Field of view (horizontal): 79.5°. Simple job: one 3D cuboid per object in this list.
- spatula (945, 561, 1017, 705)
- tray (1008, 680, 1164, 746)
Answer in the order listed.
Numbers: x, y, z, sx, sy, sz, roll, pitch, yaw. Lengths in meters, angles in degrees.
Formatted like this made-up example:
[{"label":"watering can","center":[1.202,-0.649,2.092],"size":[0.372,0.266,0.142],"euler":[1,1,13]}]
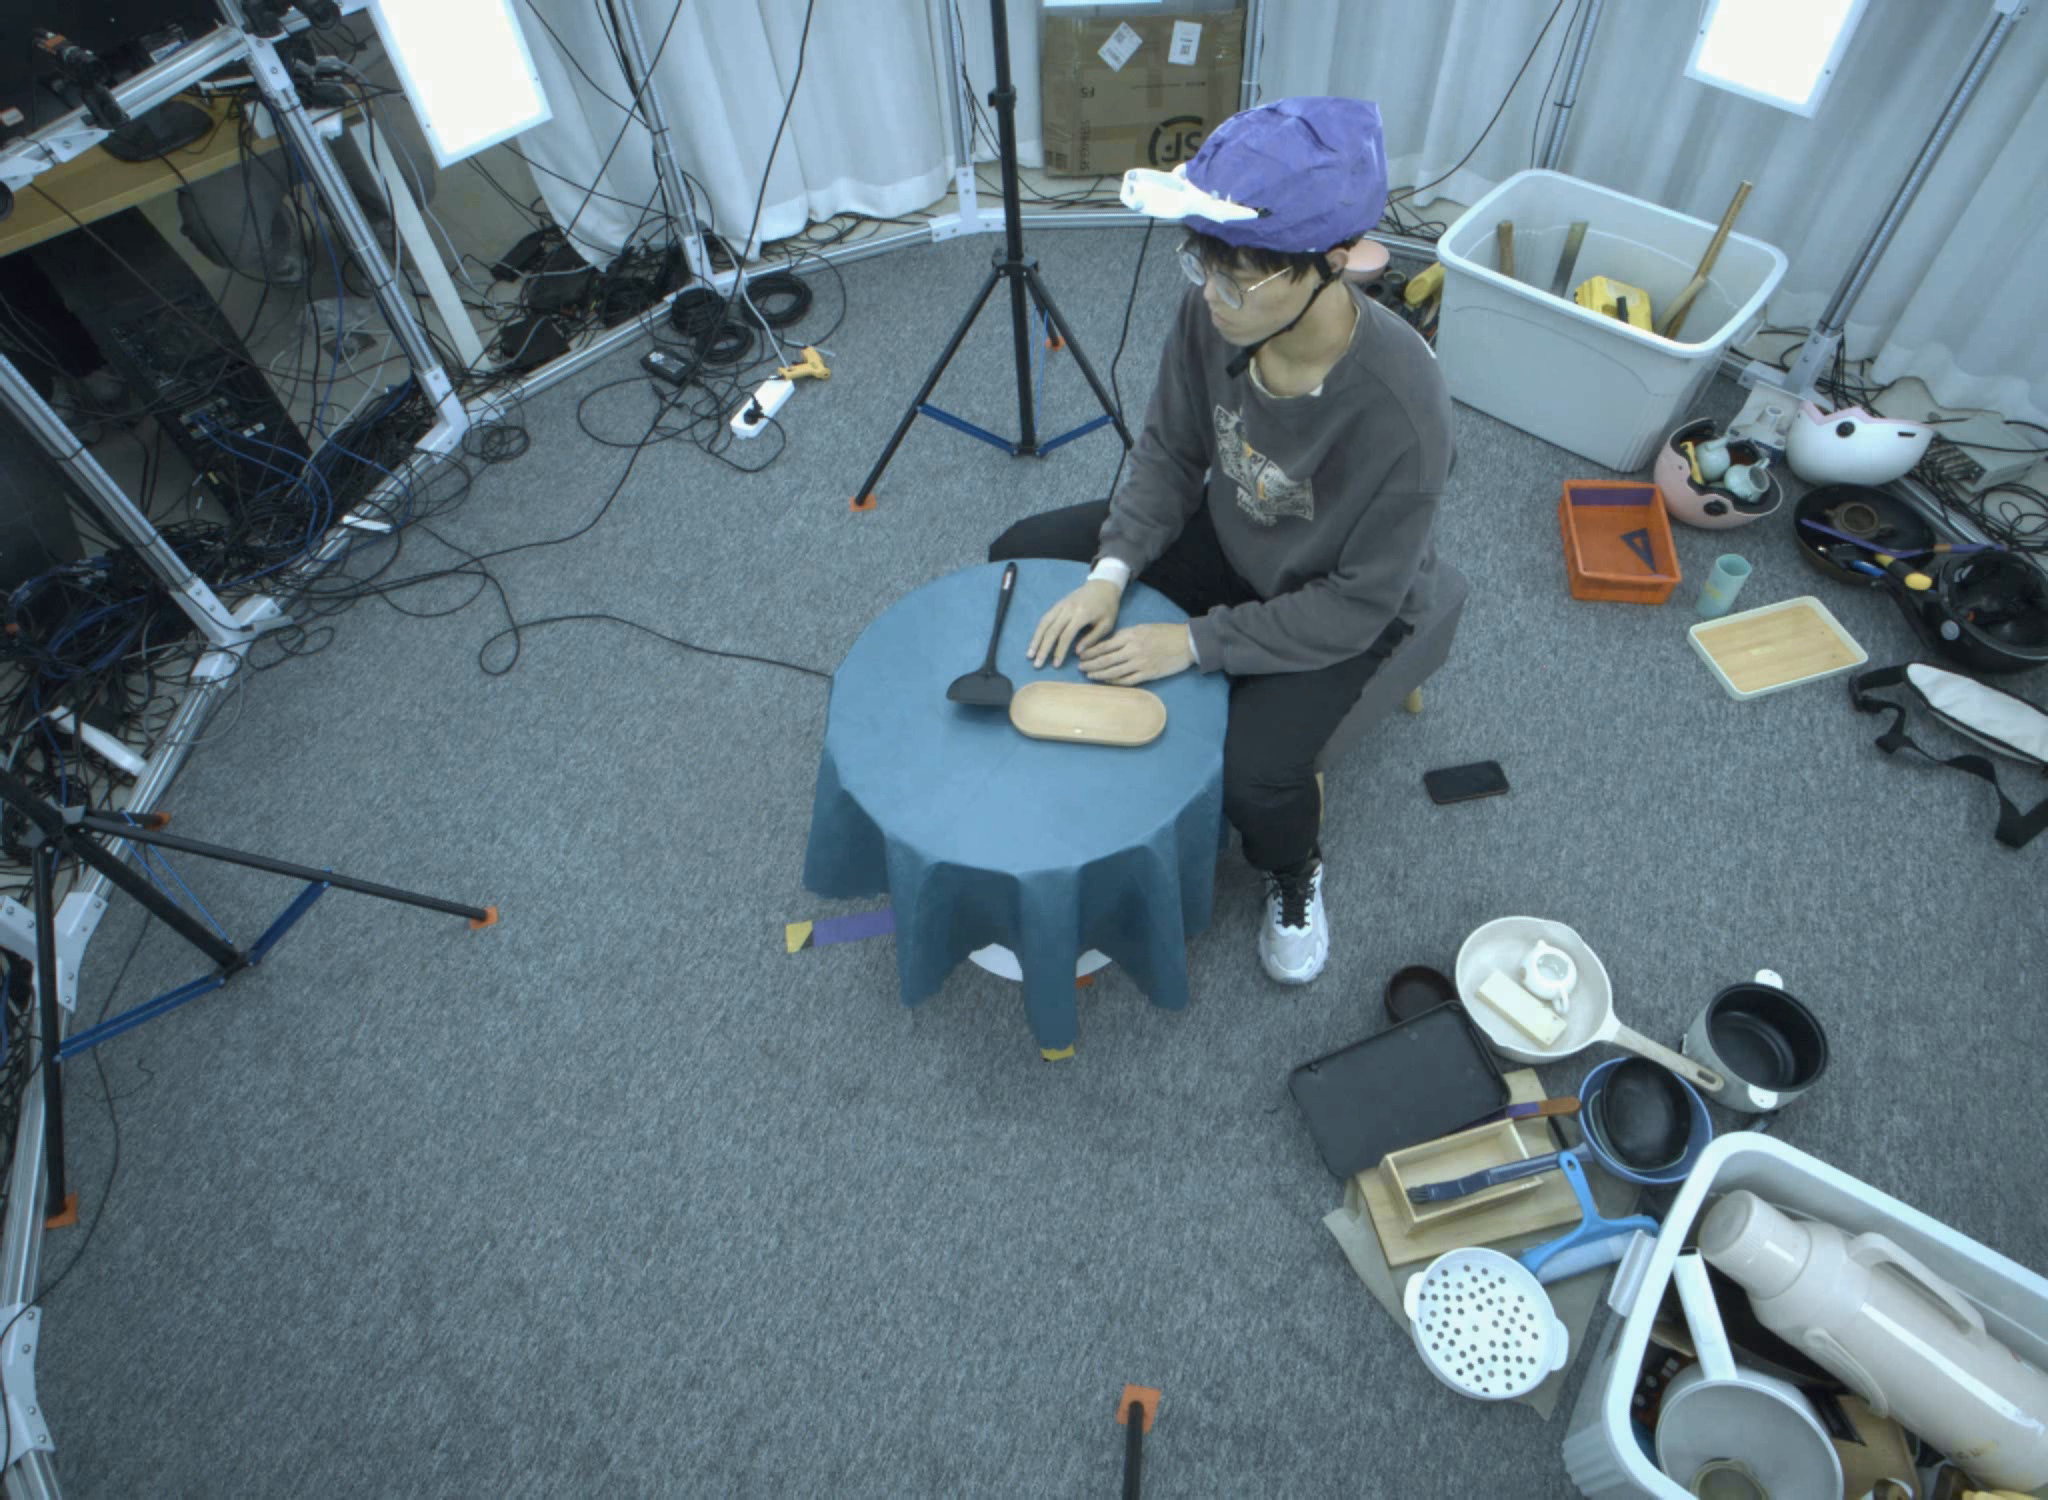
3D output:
[{"label":"spatula","center":[-0.045,-0.187,1.898],"size":[0.099,0.041,0.324],"euler":[7,55,5]},{"label":"tray","center":[0.091,-0.054,1.810],"size":[0.230,0.020,0.101],"euler":[5,54,7]}]
